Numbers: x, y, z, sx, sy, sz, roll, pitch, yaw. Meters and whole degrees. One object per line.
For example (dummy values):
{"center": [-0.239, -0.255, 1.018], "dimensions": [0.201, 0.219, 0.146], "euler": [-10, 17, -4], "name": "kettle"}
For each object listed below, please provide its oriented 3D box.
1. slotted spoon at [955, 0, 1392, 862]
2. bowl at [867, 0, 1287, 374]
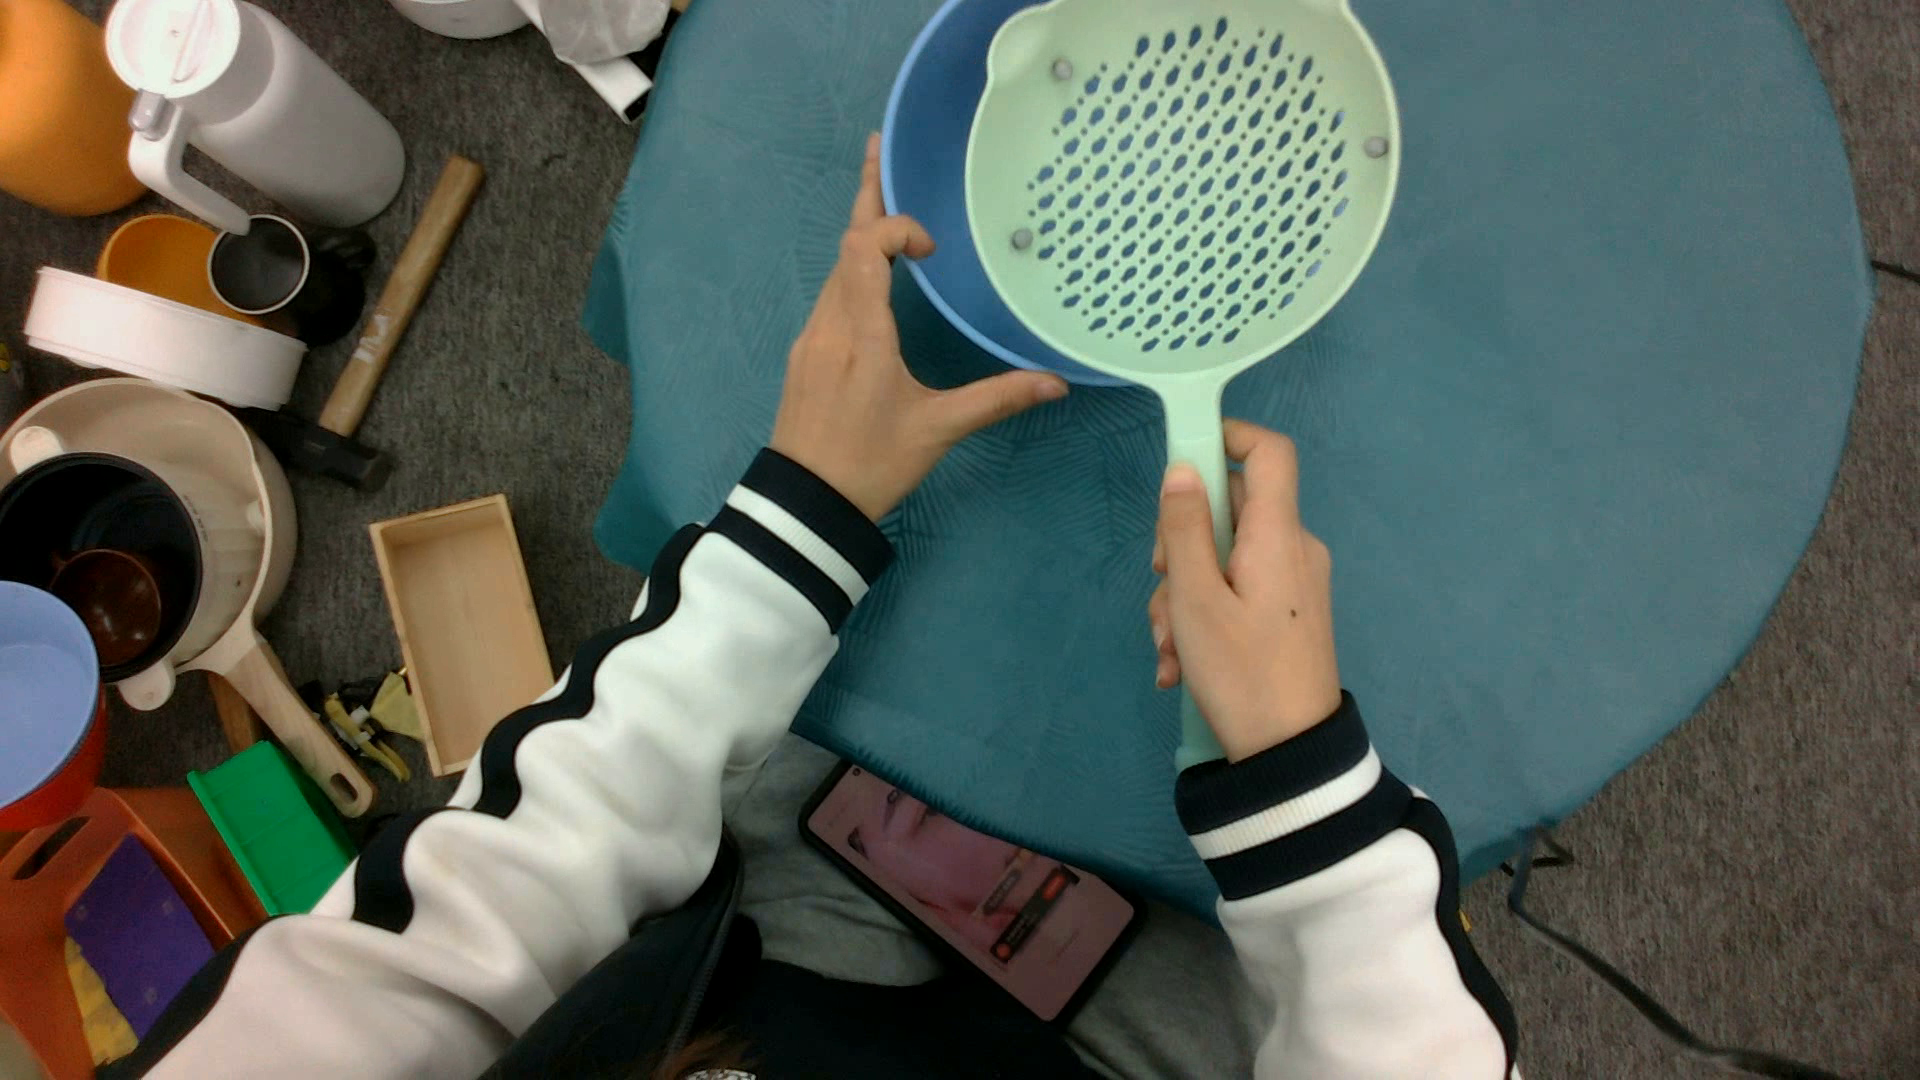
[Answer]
{"center": [0.088, -0.055, 0.542], "dimensions": [0.169, 0.075, 0.359], "euler": [-4, 80, 17], "name": "slotted spoon"}
{"center": [0.059, -0.163, 0.624], "dimensions": [0.196, 0.095, 0.196], "euler": [0, 85, 0], "name": "bowl"}
